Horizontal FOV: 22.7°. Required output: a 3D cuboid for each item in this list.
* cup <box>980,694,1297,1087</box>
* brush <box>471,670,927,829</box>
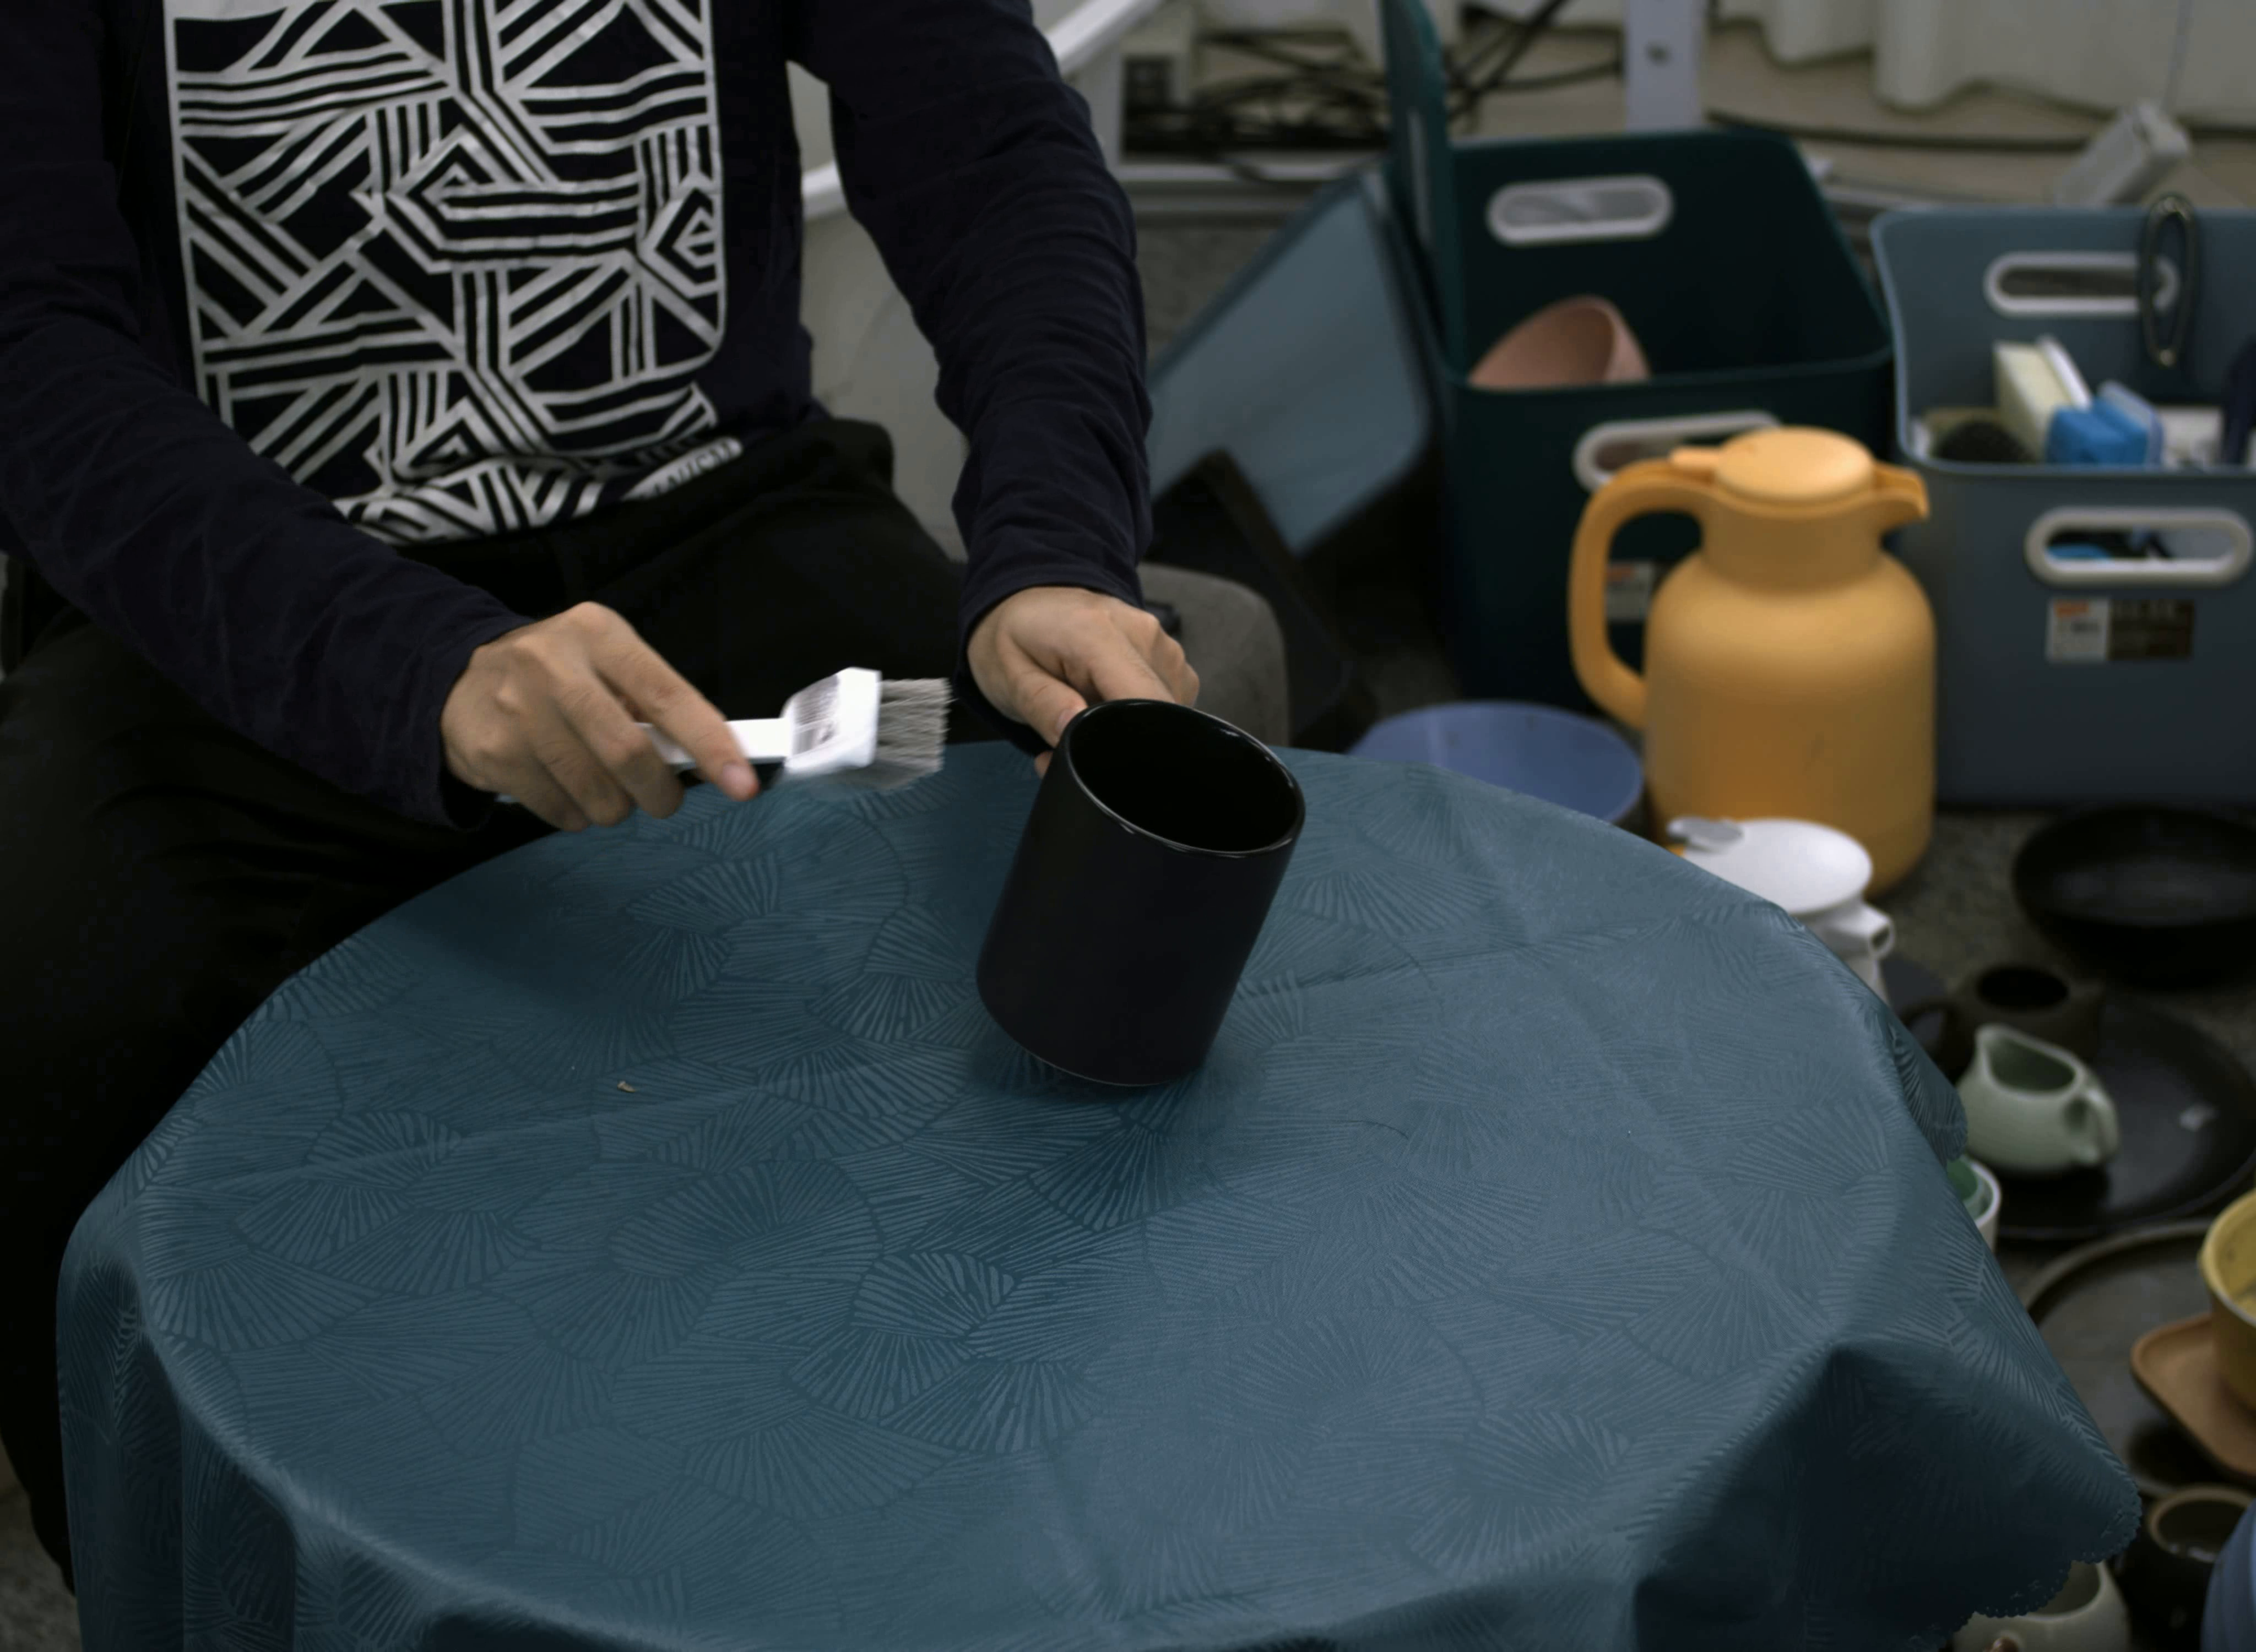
[{"bbox_3d":[-0.001,0.012,1.928,0.088,0.104,0.125,3,34,-21],"label":"cup"},{"bbox_3d":[-0.147,-0.022,1.947,0.050,0.035,0.241,5,-10,-38],"label":"brush"}]
